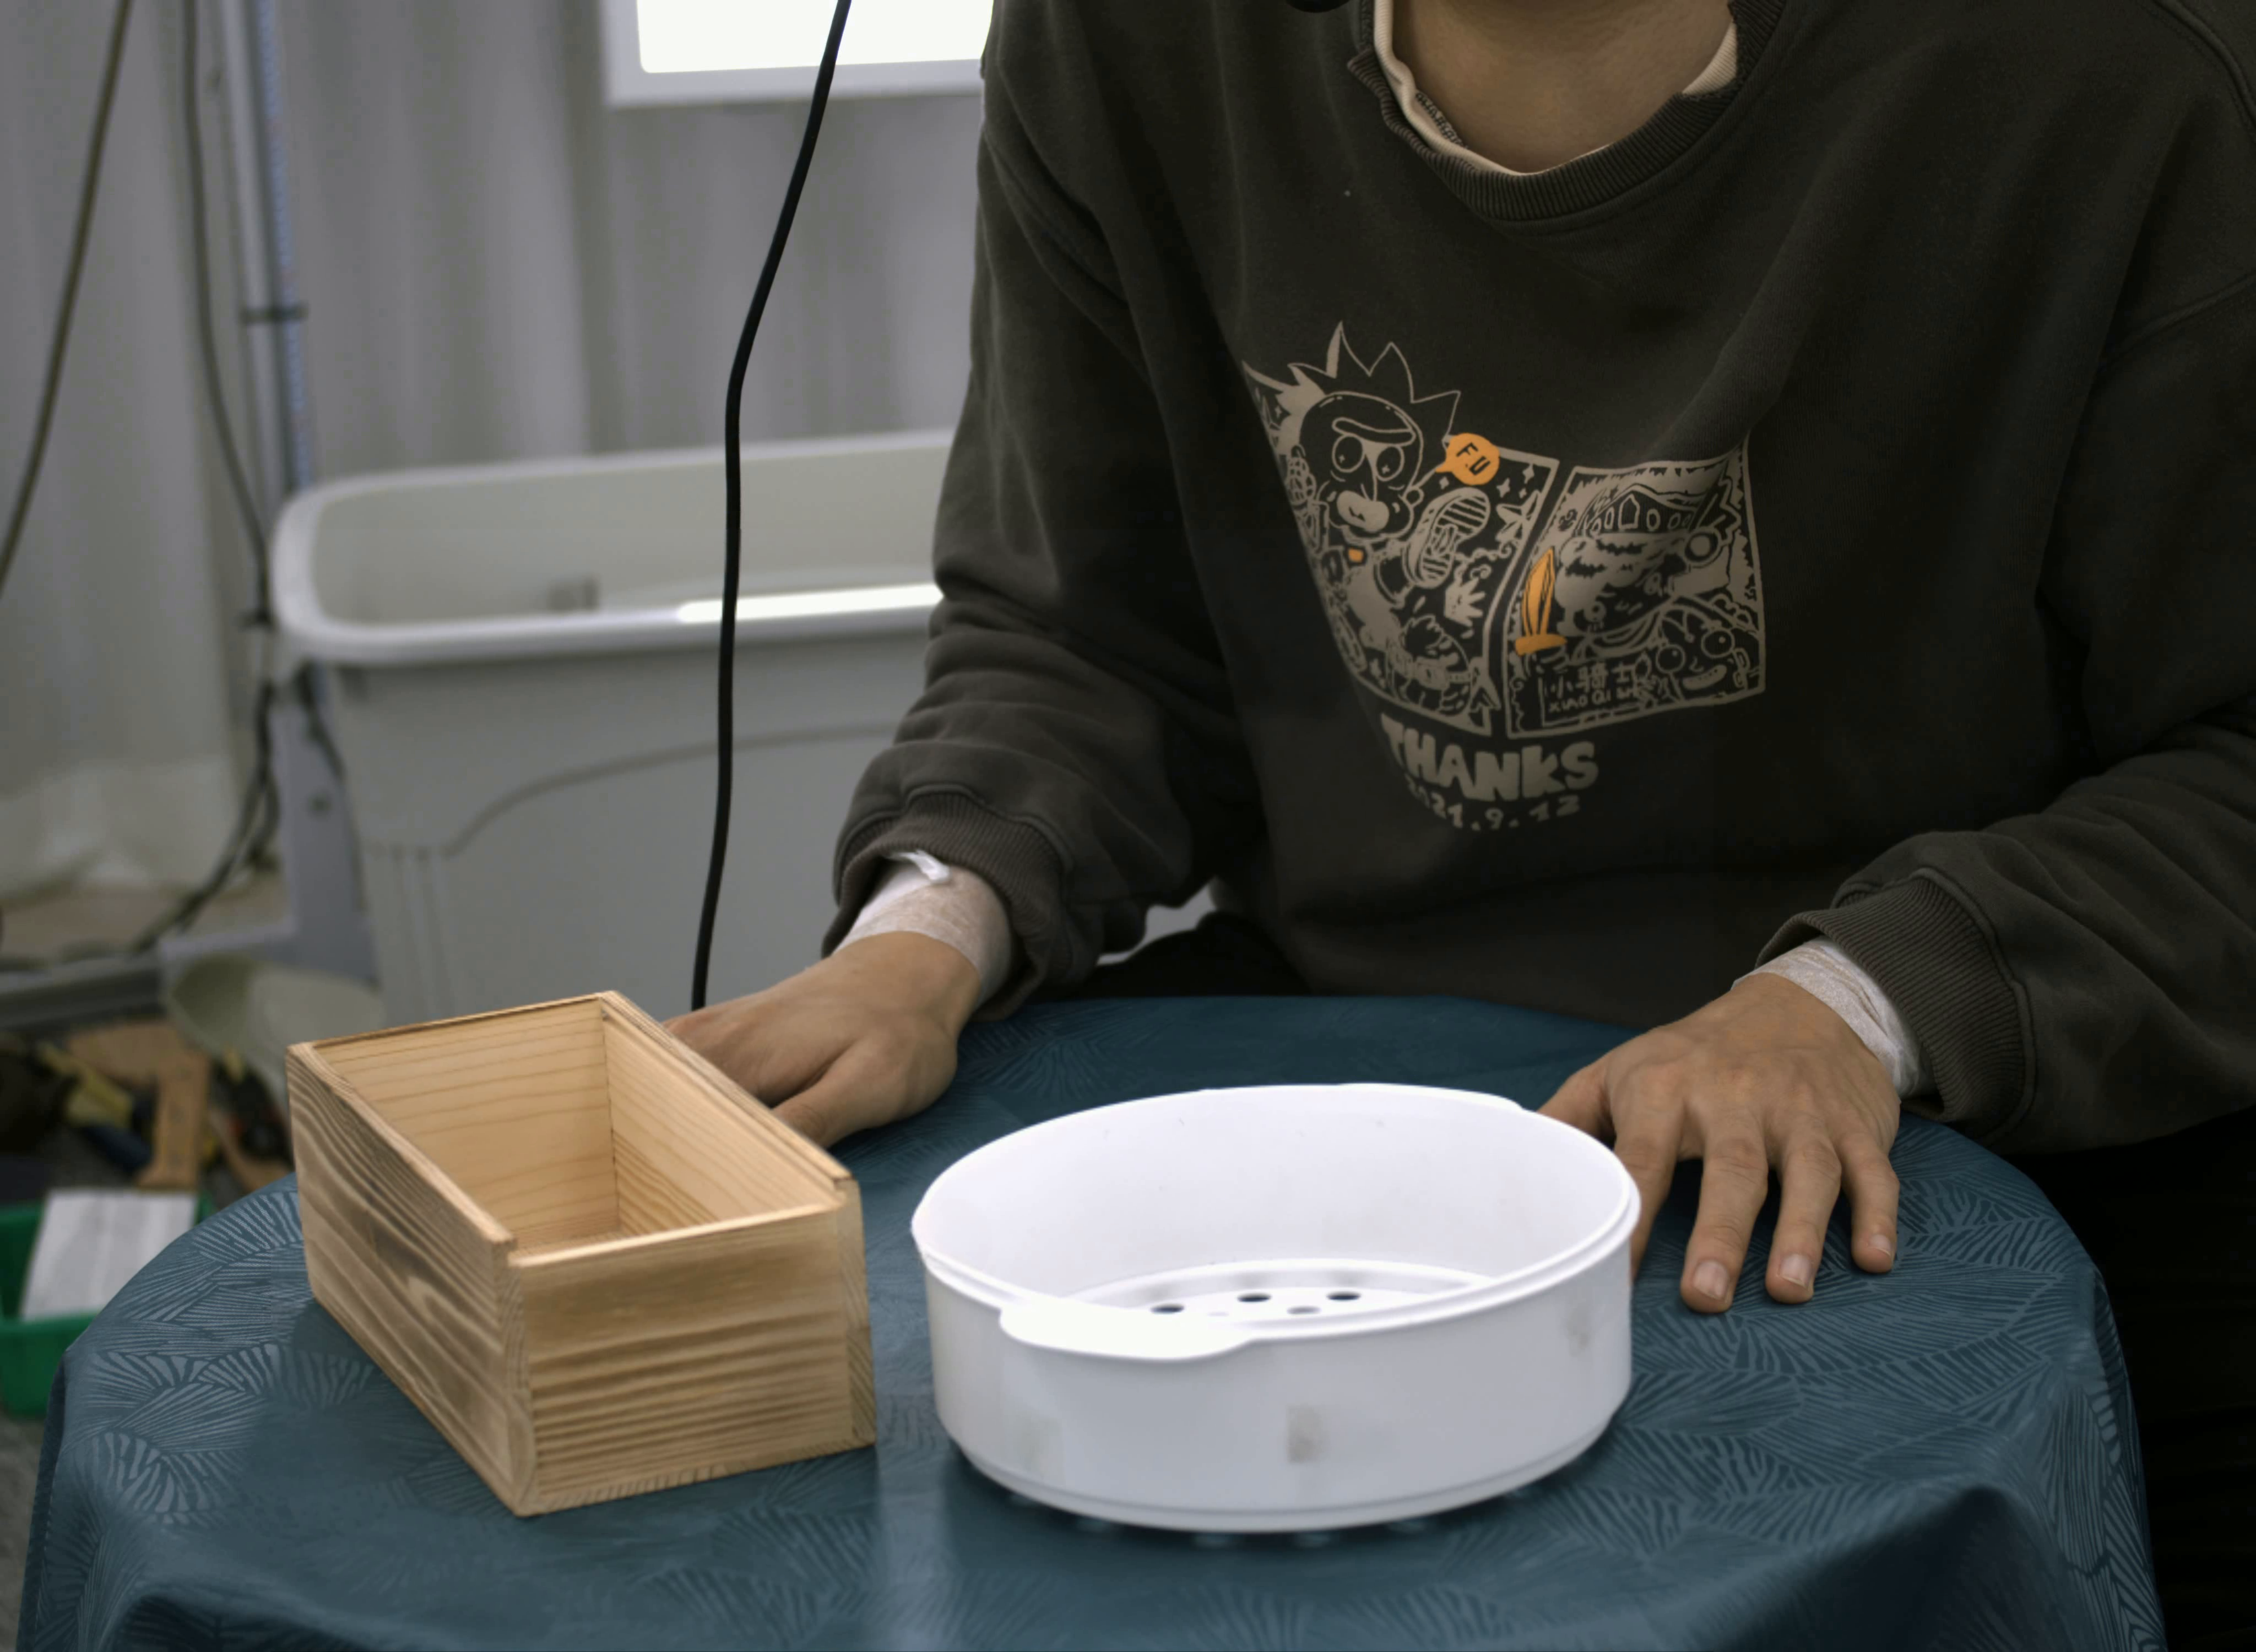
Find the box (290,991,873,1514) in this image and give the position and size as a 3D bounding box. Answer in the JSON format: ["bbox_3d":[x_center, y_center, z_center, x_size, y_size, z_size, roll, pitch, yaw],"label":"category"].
[{"bbox_3d":[-0.162,0.119,1.585,0.107,0.080,0.213,-9,16,-22],"label":"box"}]

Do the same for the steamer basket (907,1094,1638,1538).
[{"bbox_3d":[0.040,0.135,1.510,0.202,0.069,0.231,5,16,26],"label":"steamer basket"}]
